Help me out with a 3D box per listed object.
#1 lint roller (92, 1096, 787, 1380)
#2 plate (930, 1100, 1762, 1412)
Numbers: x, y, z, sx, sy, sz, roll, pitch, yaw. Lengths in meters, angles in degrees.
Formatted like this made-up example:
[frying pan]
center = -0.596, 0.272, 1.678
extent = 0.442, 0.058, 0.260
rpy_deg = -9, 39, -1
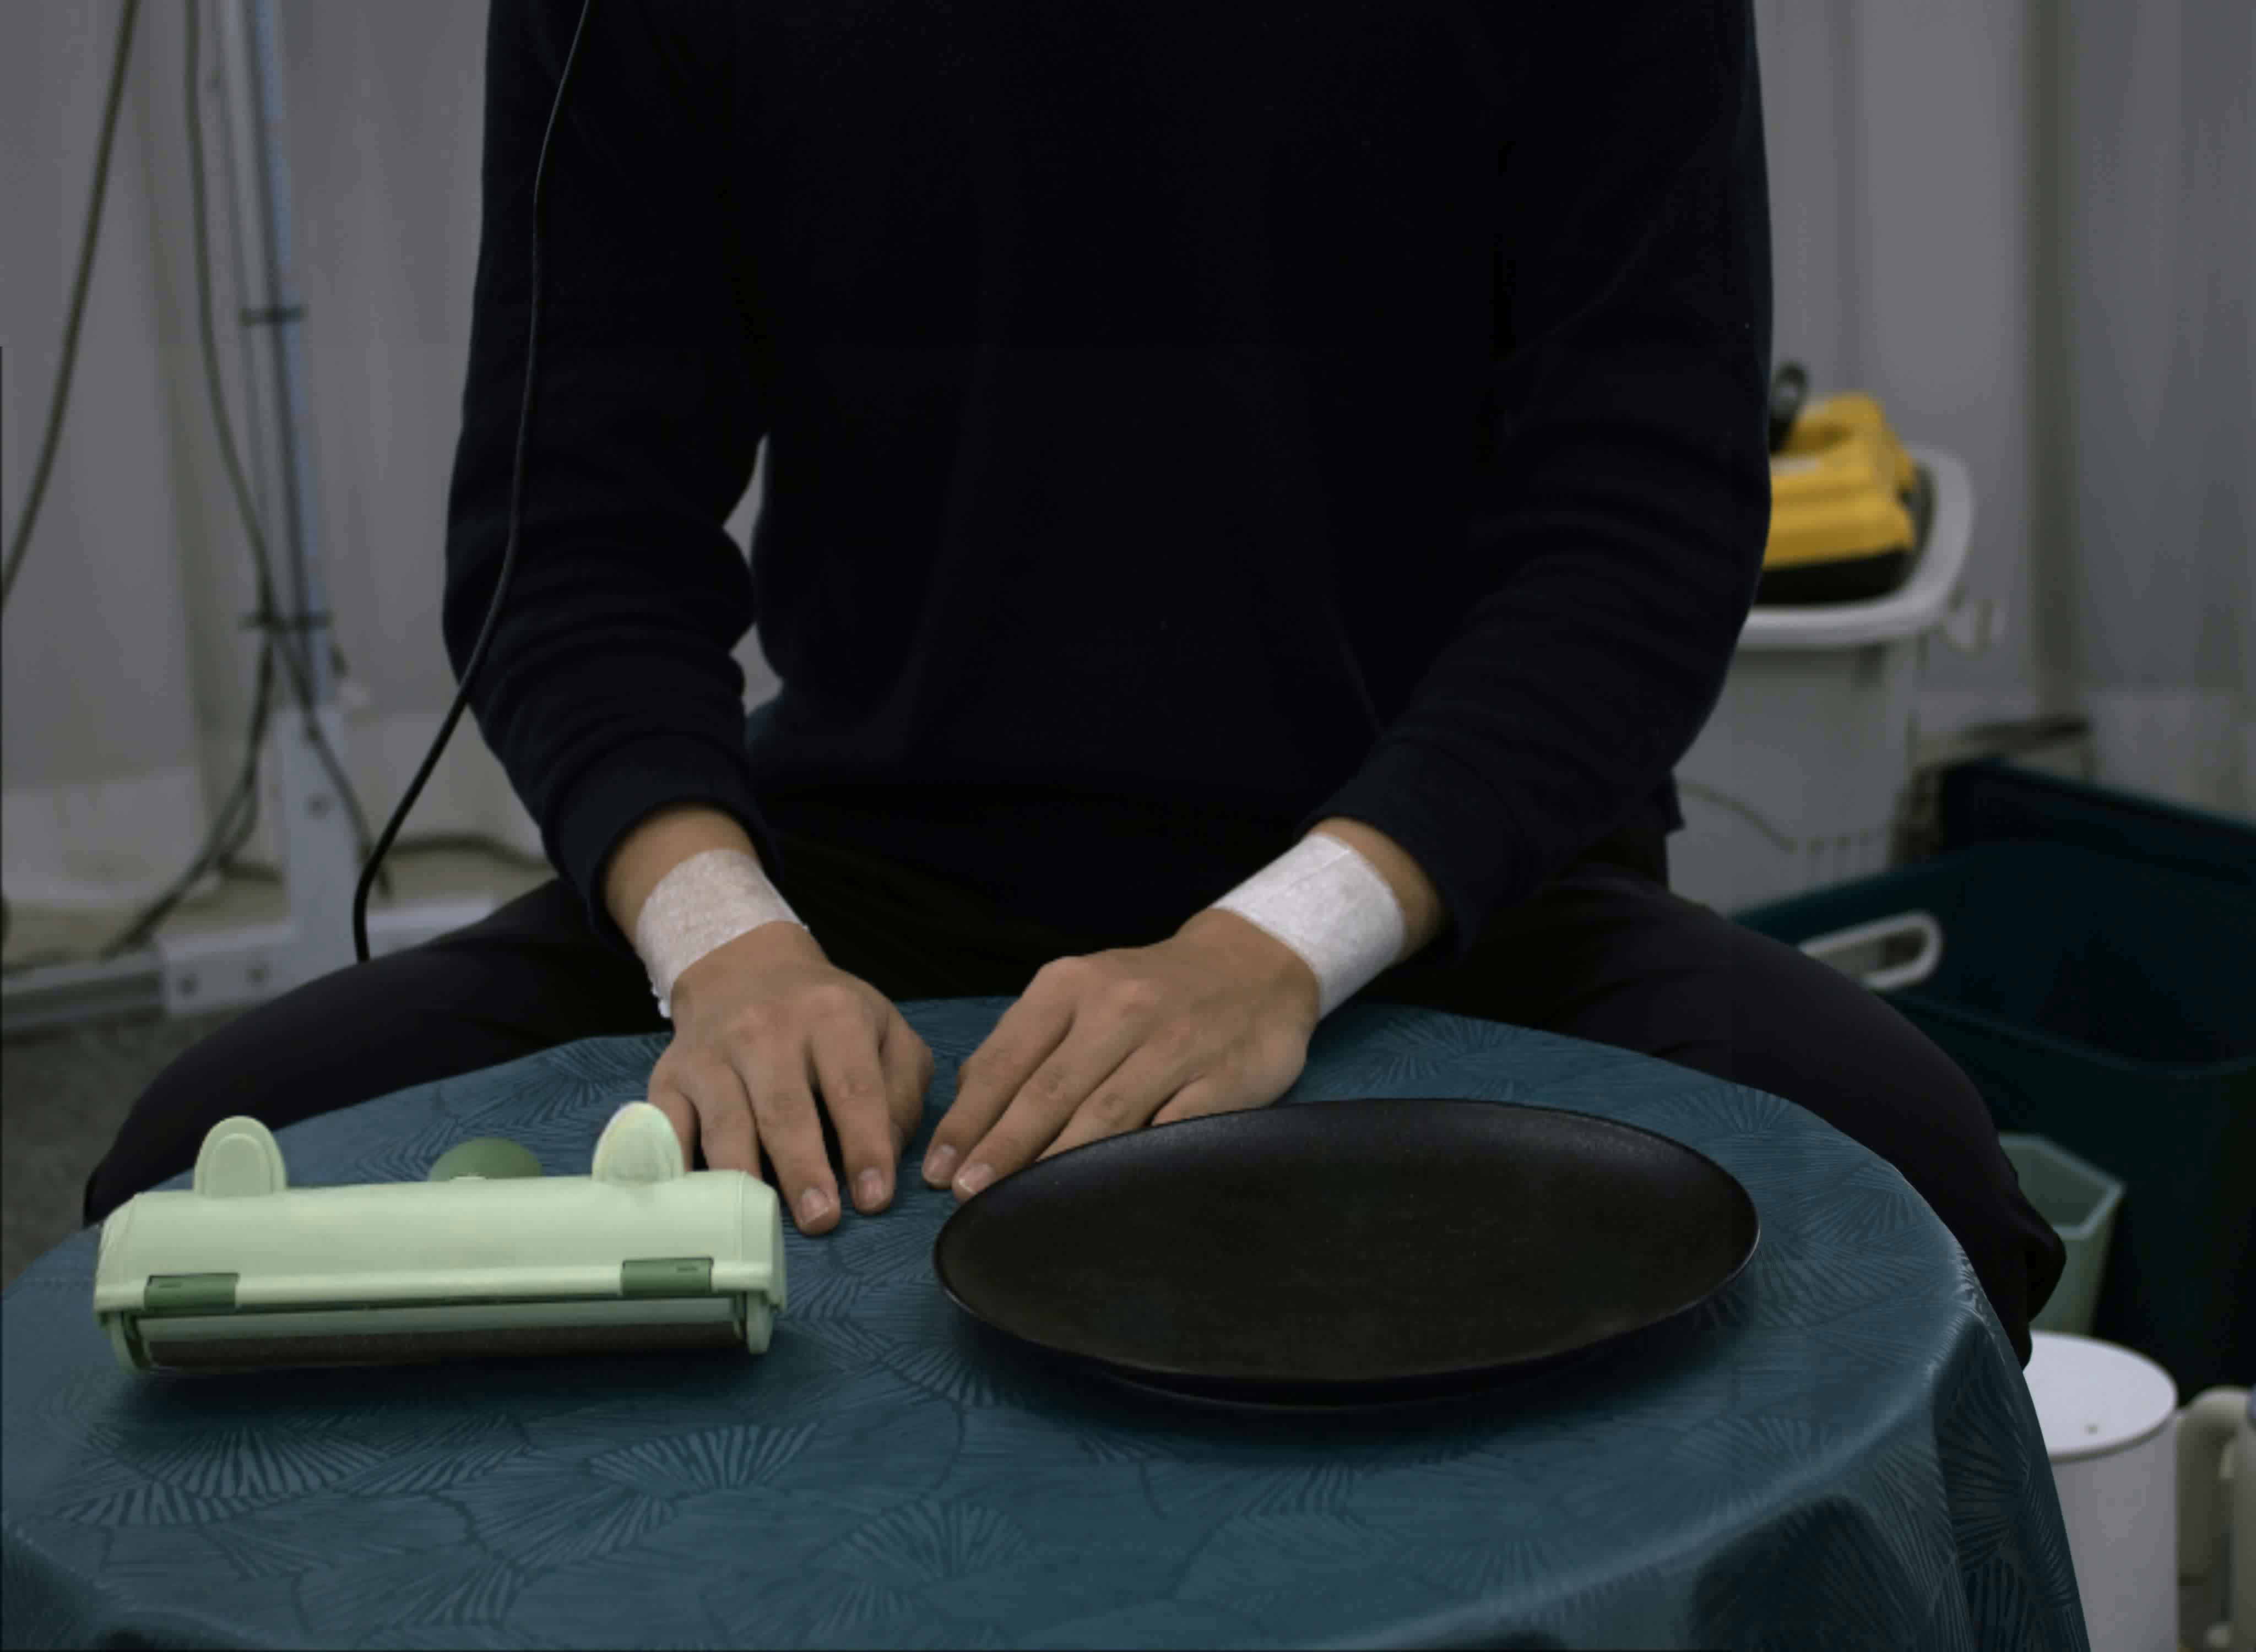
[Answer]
[lint roller]
center = -0.200, 0.102, 1.636
extent = 0.198, 0.081, 0.185
rpy_deg = -2, 21, 0
[plate]
center = 0.064, 0.129, 1.605
extent = 0.243, 0.023, 0.246
rpy_deg = -3, 15, 0
